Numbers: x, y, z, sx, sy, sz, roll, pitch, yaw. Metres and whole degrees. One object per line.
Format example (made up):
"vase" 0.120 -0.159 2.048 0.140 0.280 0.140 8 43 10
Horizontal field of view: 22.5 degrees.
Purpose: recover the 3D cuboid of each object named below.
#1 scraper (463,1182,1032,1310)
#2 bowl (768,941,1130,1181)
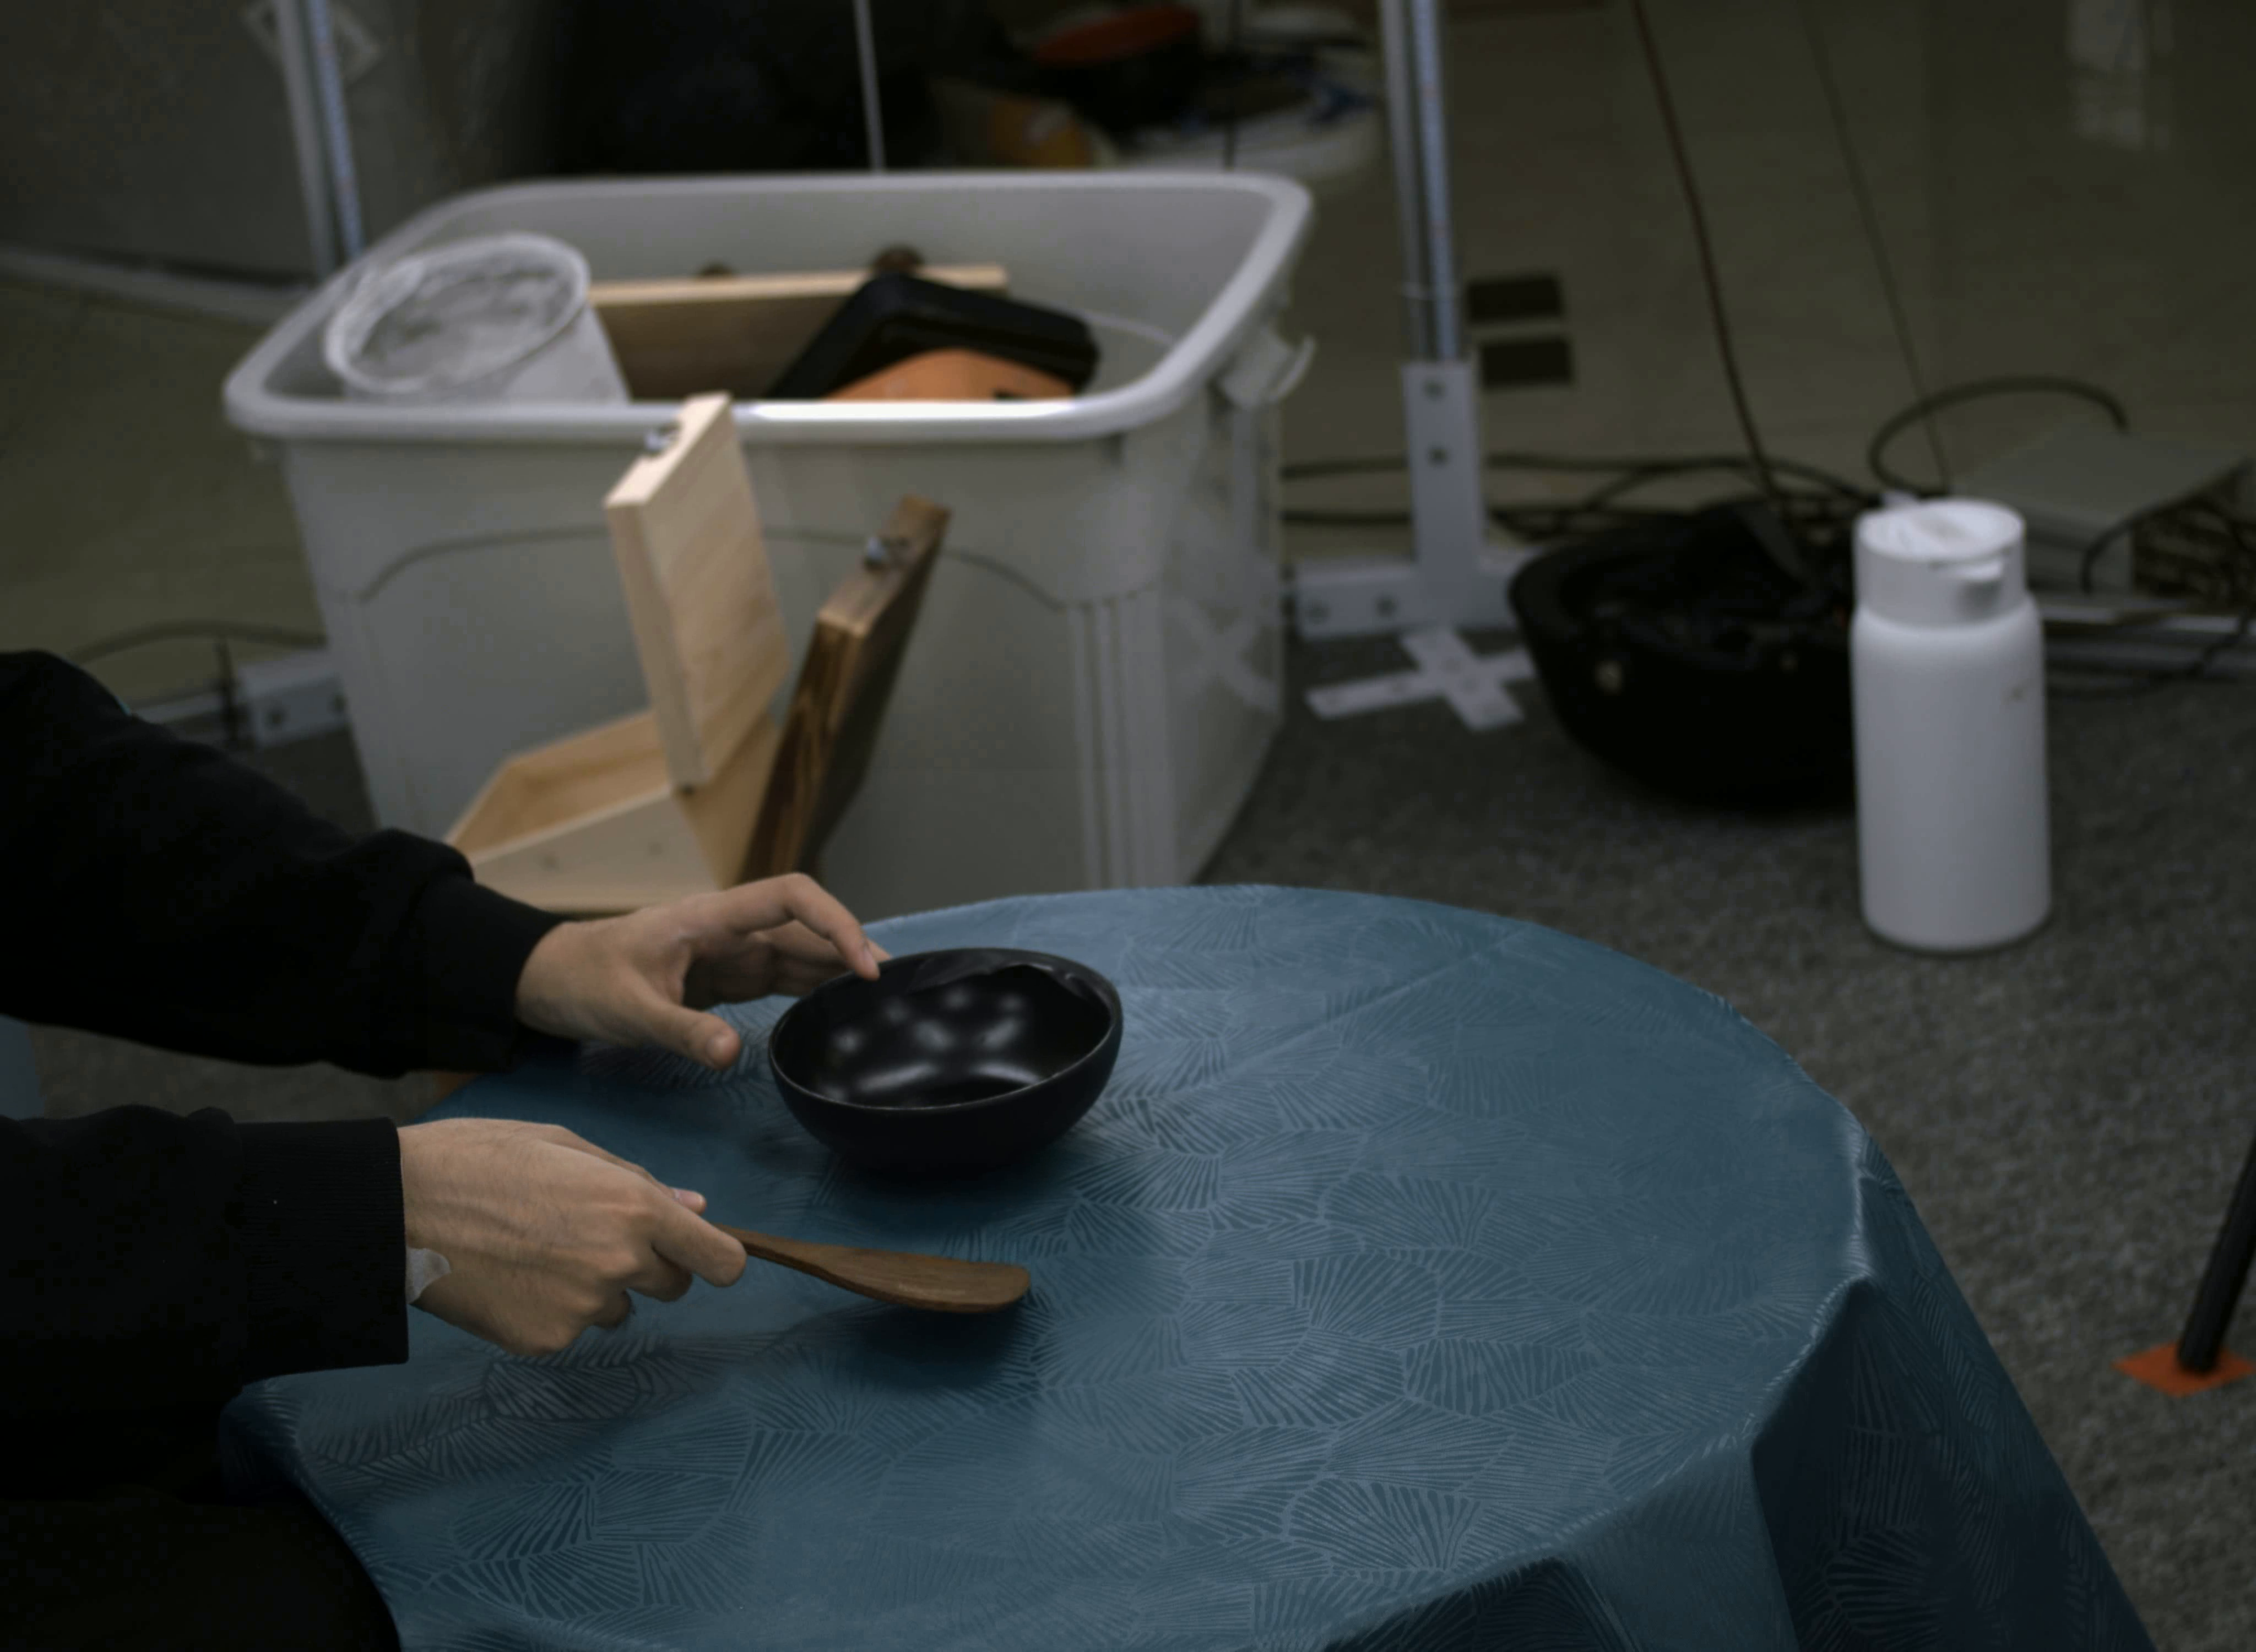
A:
"scraper" -0.140 0.152 2.071 0.211 0.011 0.075 10 7 5
"bowl" -0.068 0.099 2.197 0.140 0.050 0.138 -4 28 2
